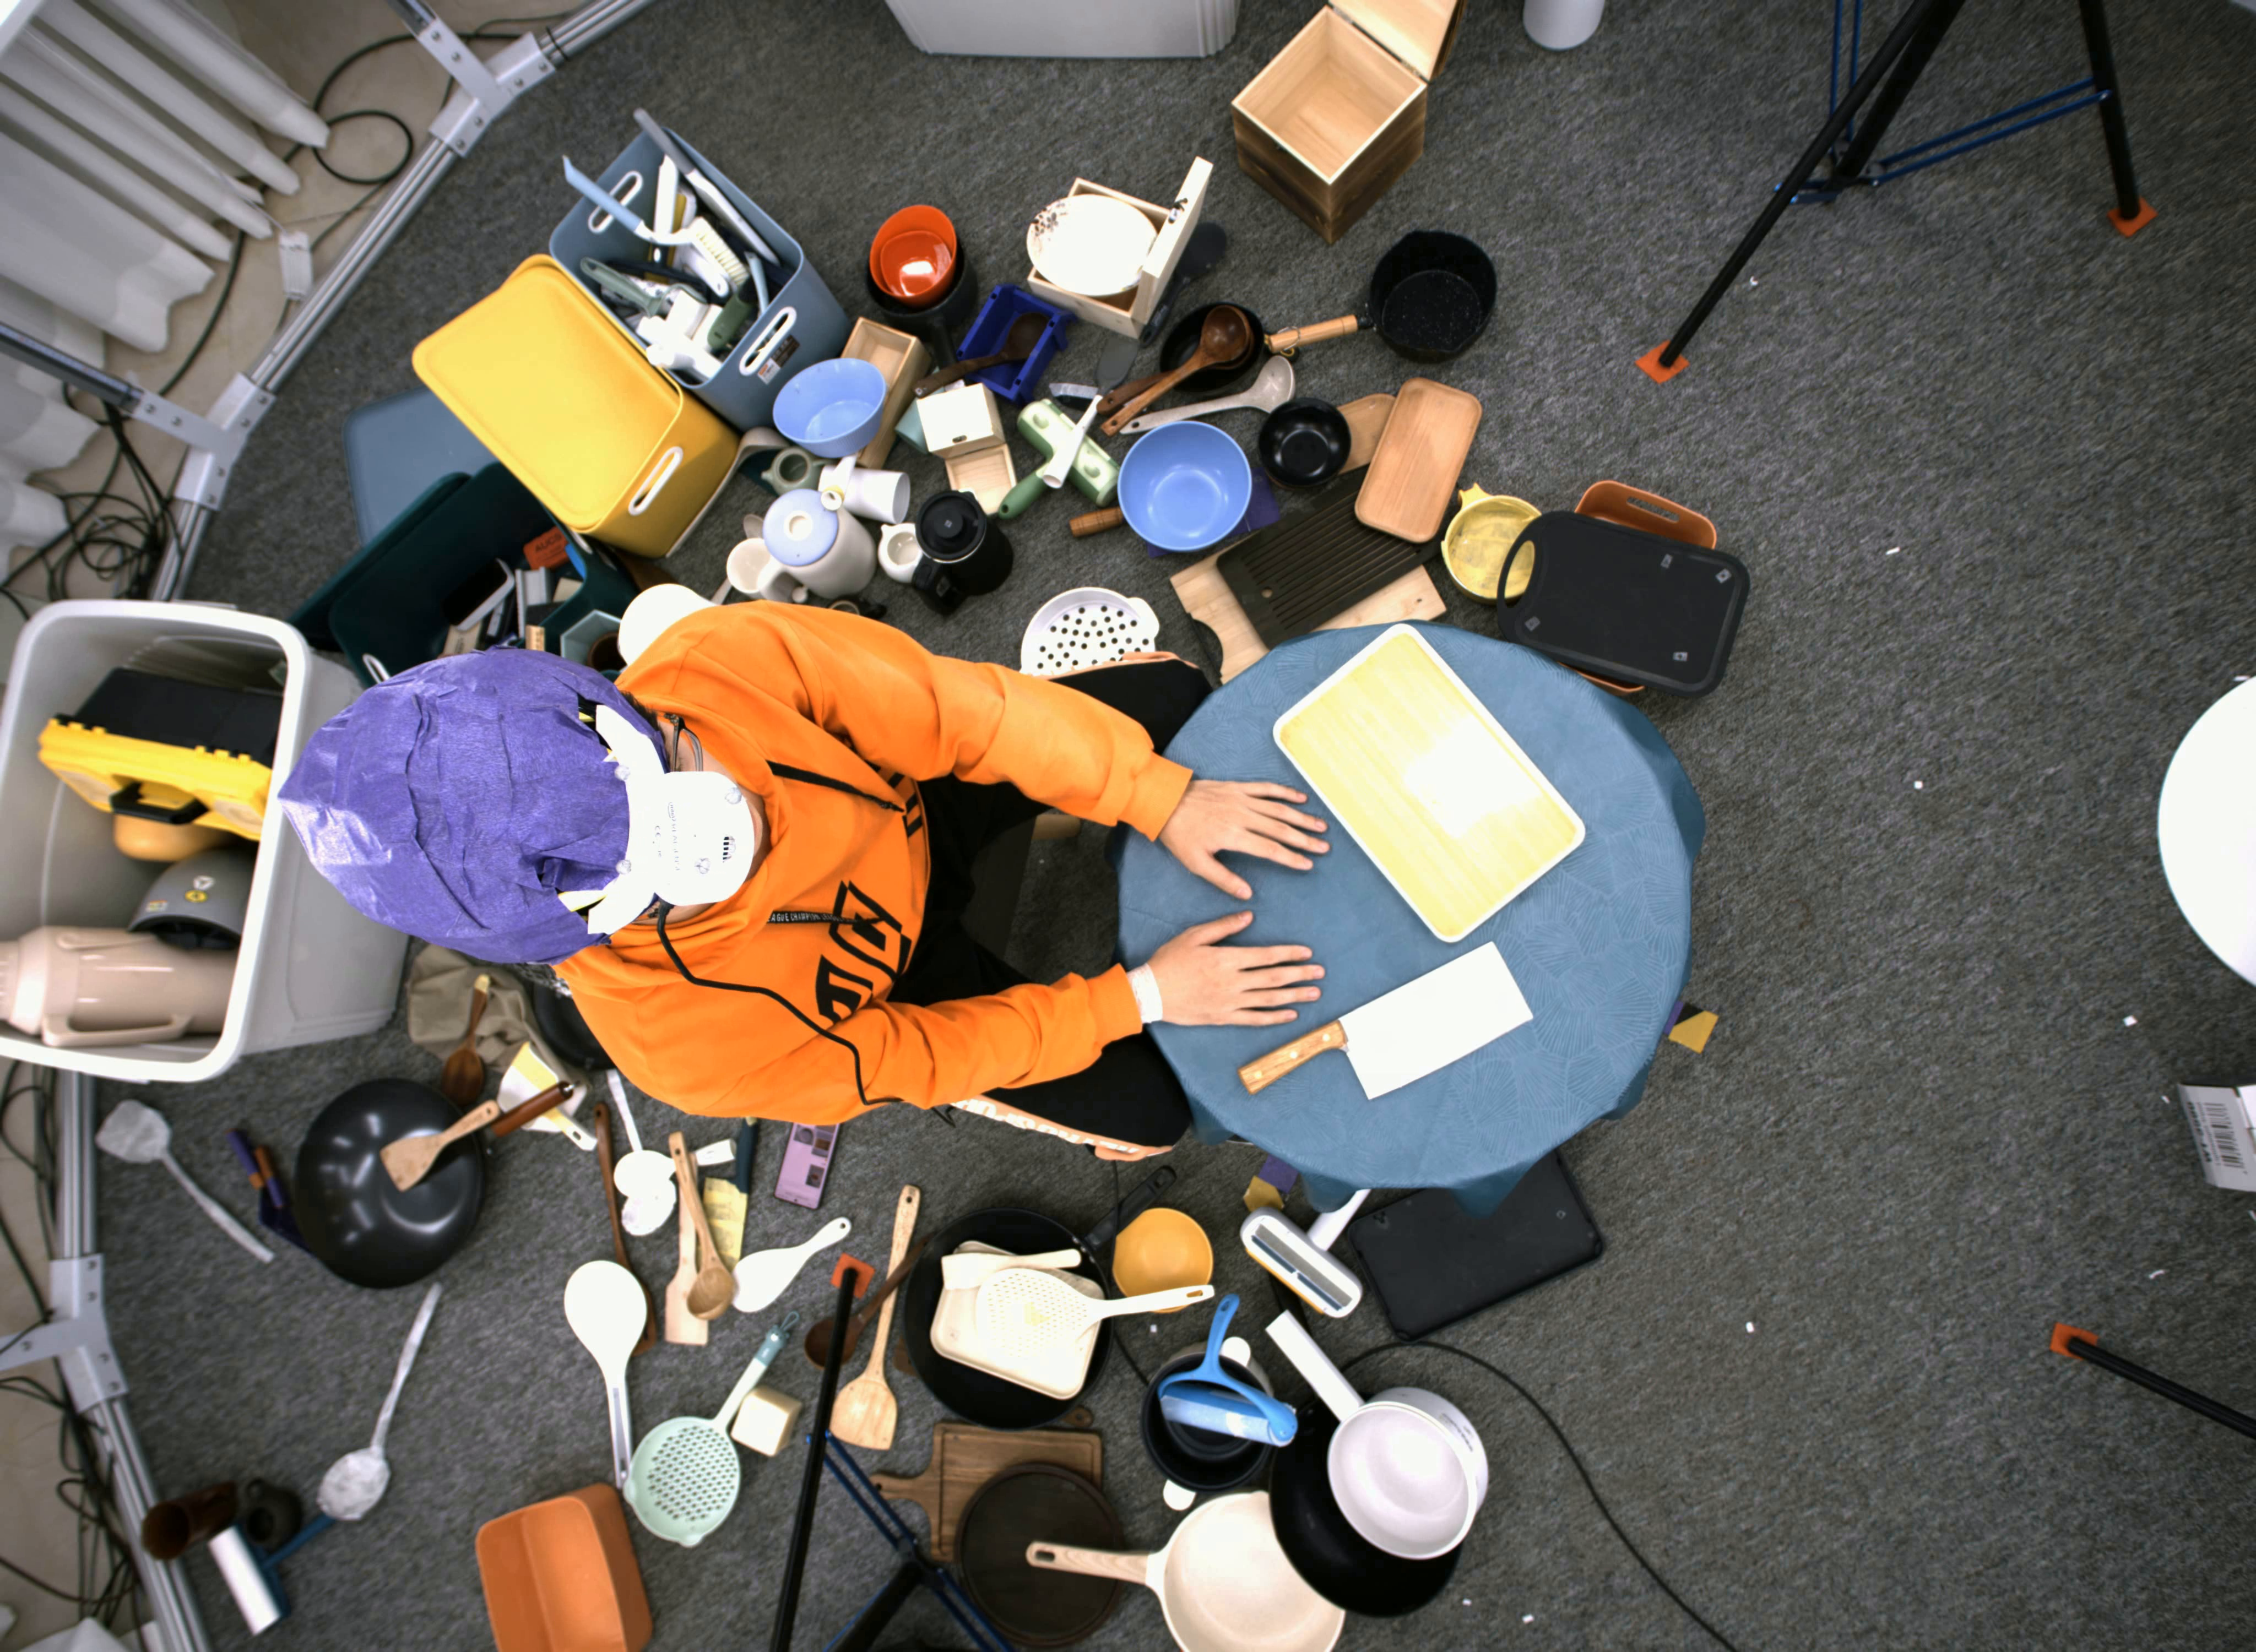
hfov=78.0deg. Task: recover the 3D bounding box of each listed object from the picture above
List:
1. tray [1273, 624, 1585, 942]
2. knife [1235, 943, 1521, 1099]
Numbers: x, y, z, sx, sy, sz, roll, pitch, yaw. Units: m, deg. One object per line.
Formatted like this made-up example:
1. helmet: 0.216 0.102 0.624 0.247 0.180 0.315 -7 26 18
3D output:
1. tray: 0.313 -0.048 1.445 0.192 0.027 0.299 -39 81 6
2. knife: 0.264 0.225 1.445 0.307 0.021 0.092 -28 84 6
